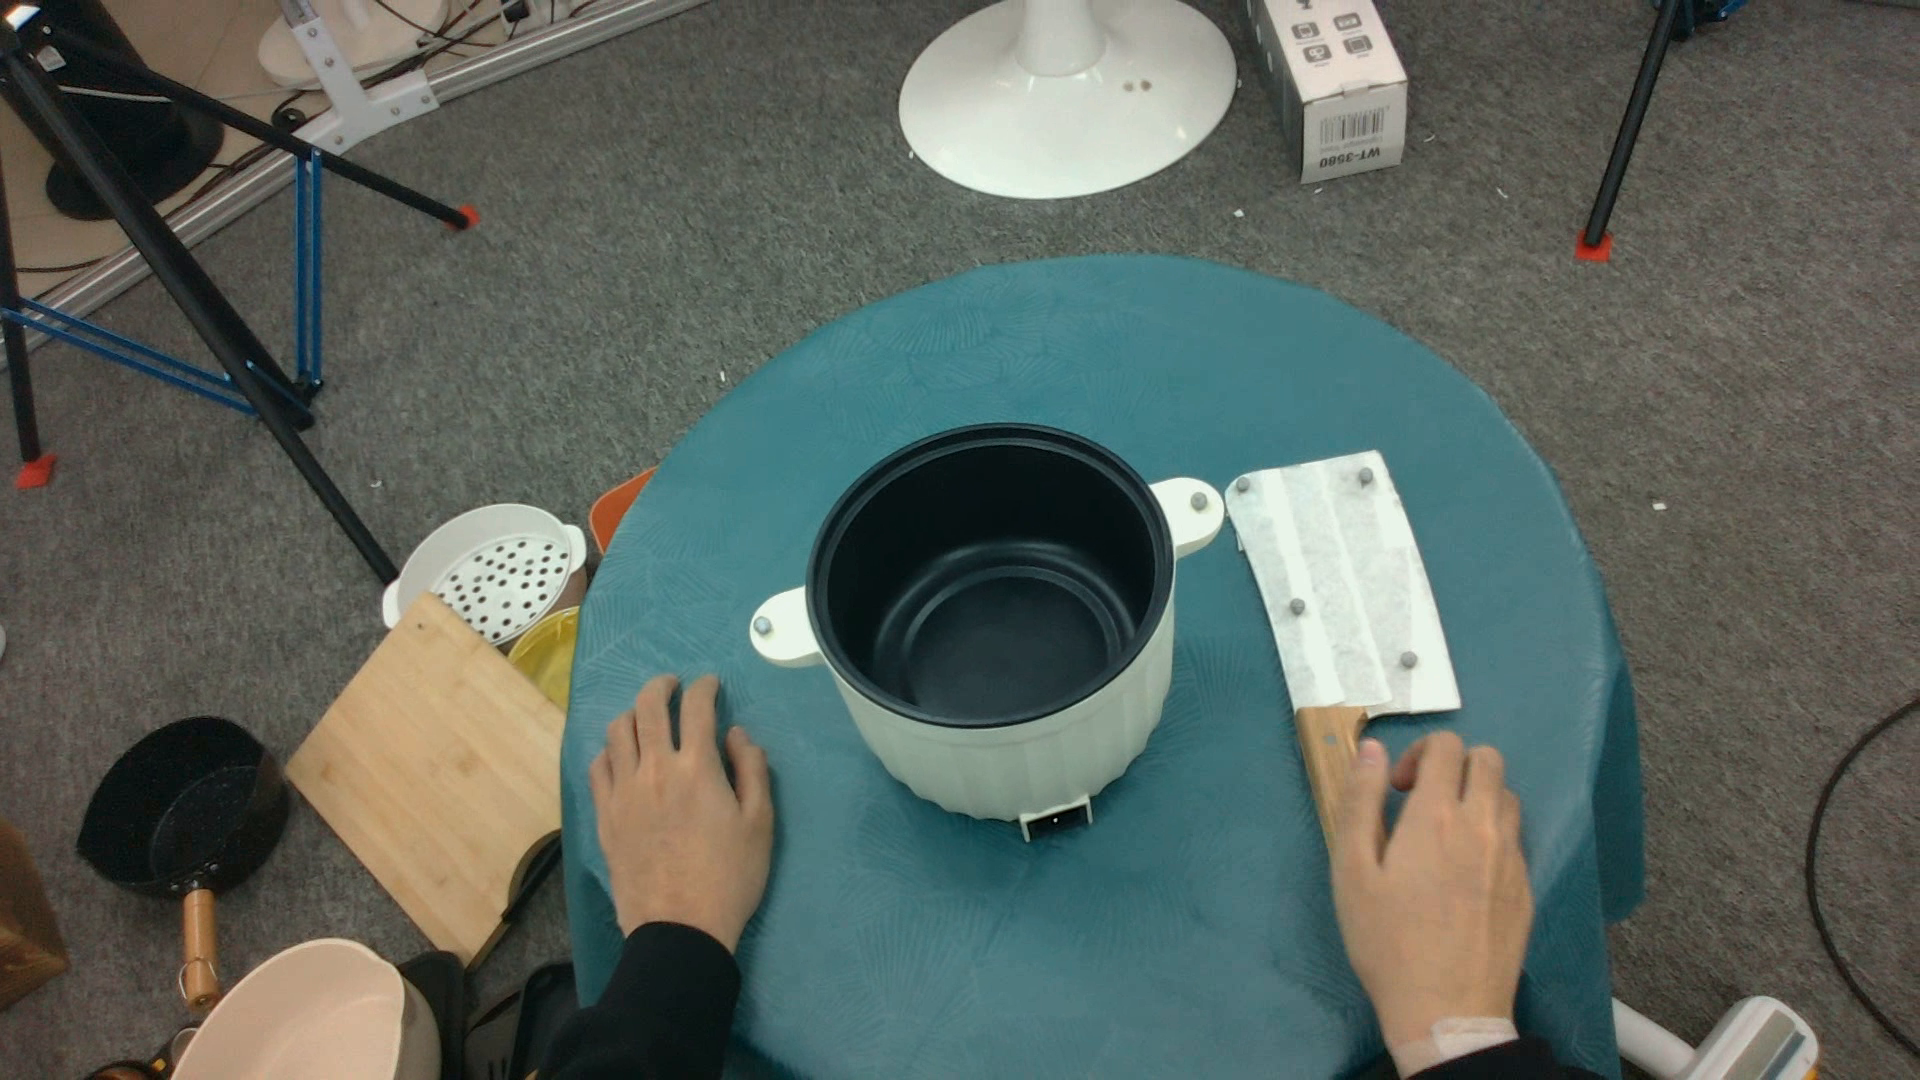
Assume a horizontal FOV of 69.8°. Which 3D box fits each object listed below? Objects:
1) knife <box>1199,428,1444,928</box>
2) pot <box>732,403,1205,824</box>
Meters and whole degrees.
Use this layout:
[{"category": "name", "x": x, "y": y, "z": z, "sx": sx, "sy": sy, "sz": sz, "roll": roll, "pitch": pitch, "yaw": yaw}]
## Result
[{"category": "knife", "x": 0.201, "y": 0.058, "z": 0.751, "sx": 0.114, "sy": 0.021, "sz": 0.317, "roll": -5, "pitch": 51, "yaw": 5}, {"category": "pot", "x": 0.010, "y": 0.037, "z": 0.722, "sx": 0.240, "sy": 0.142, "sz": 0.191, "roll": -16, "pitch": 56, "yaw": -4}]
